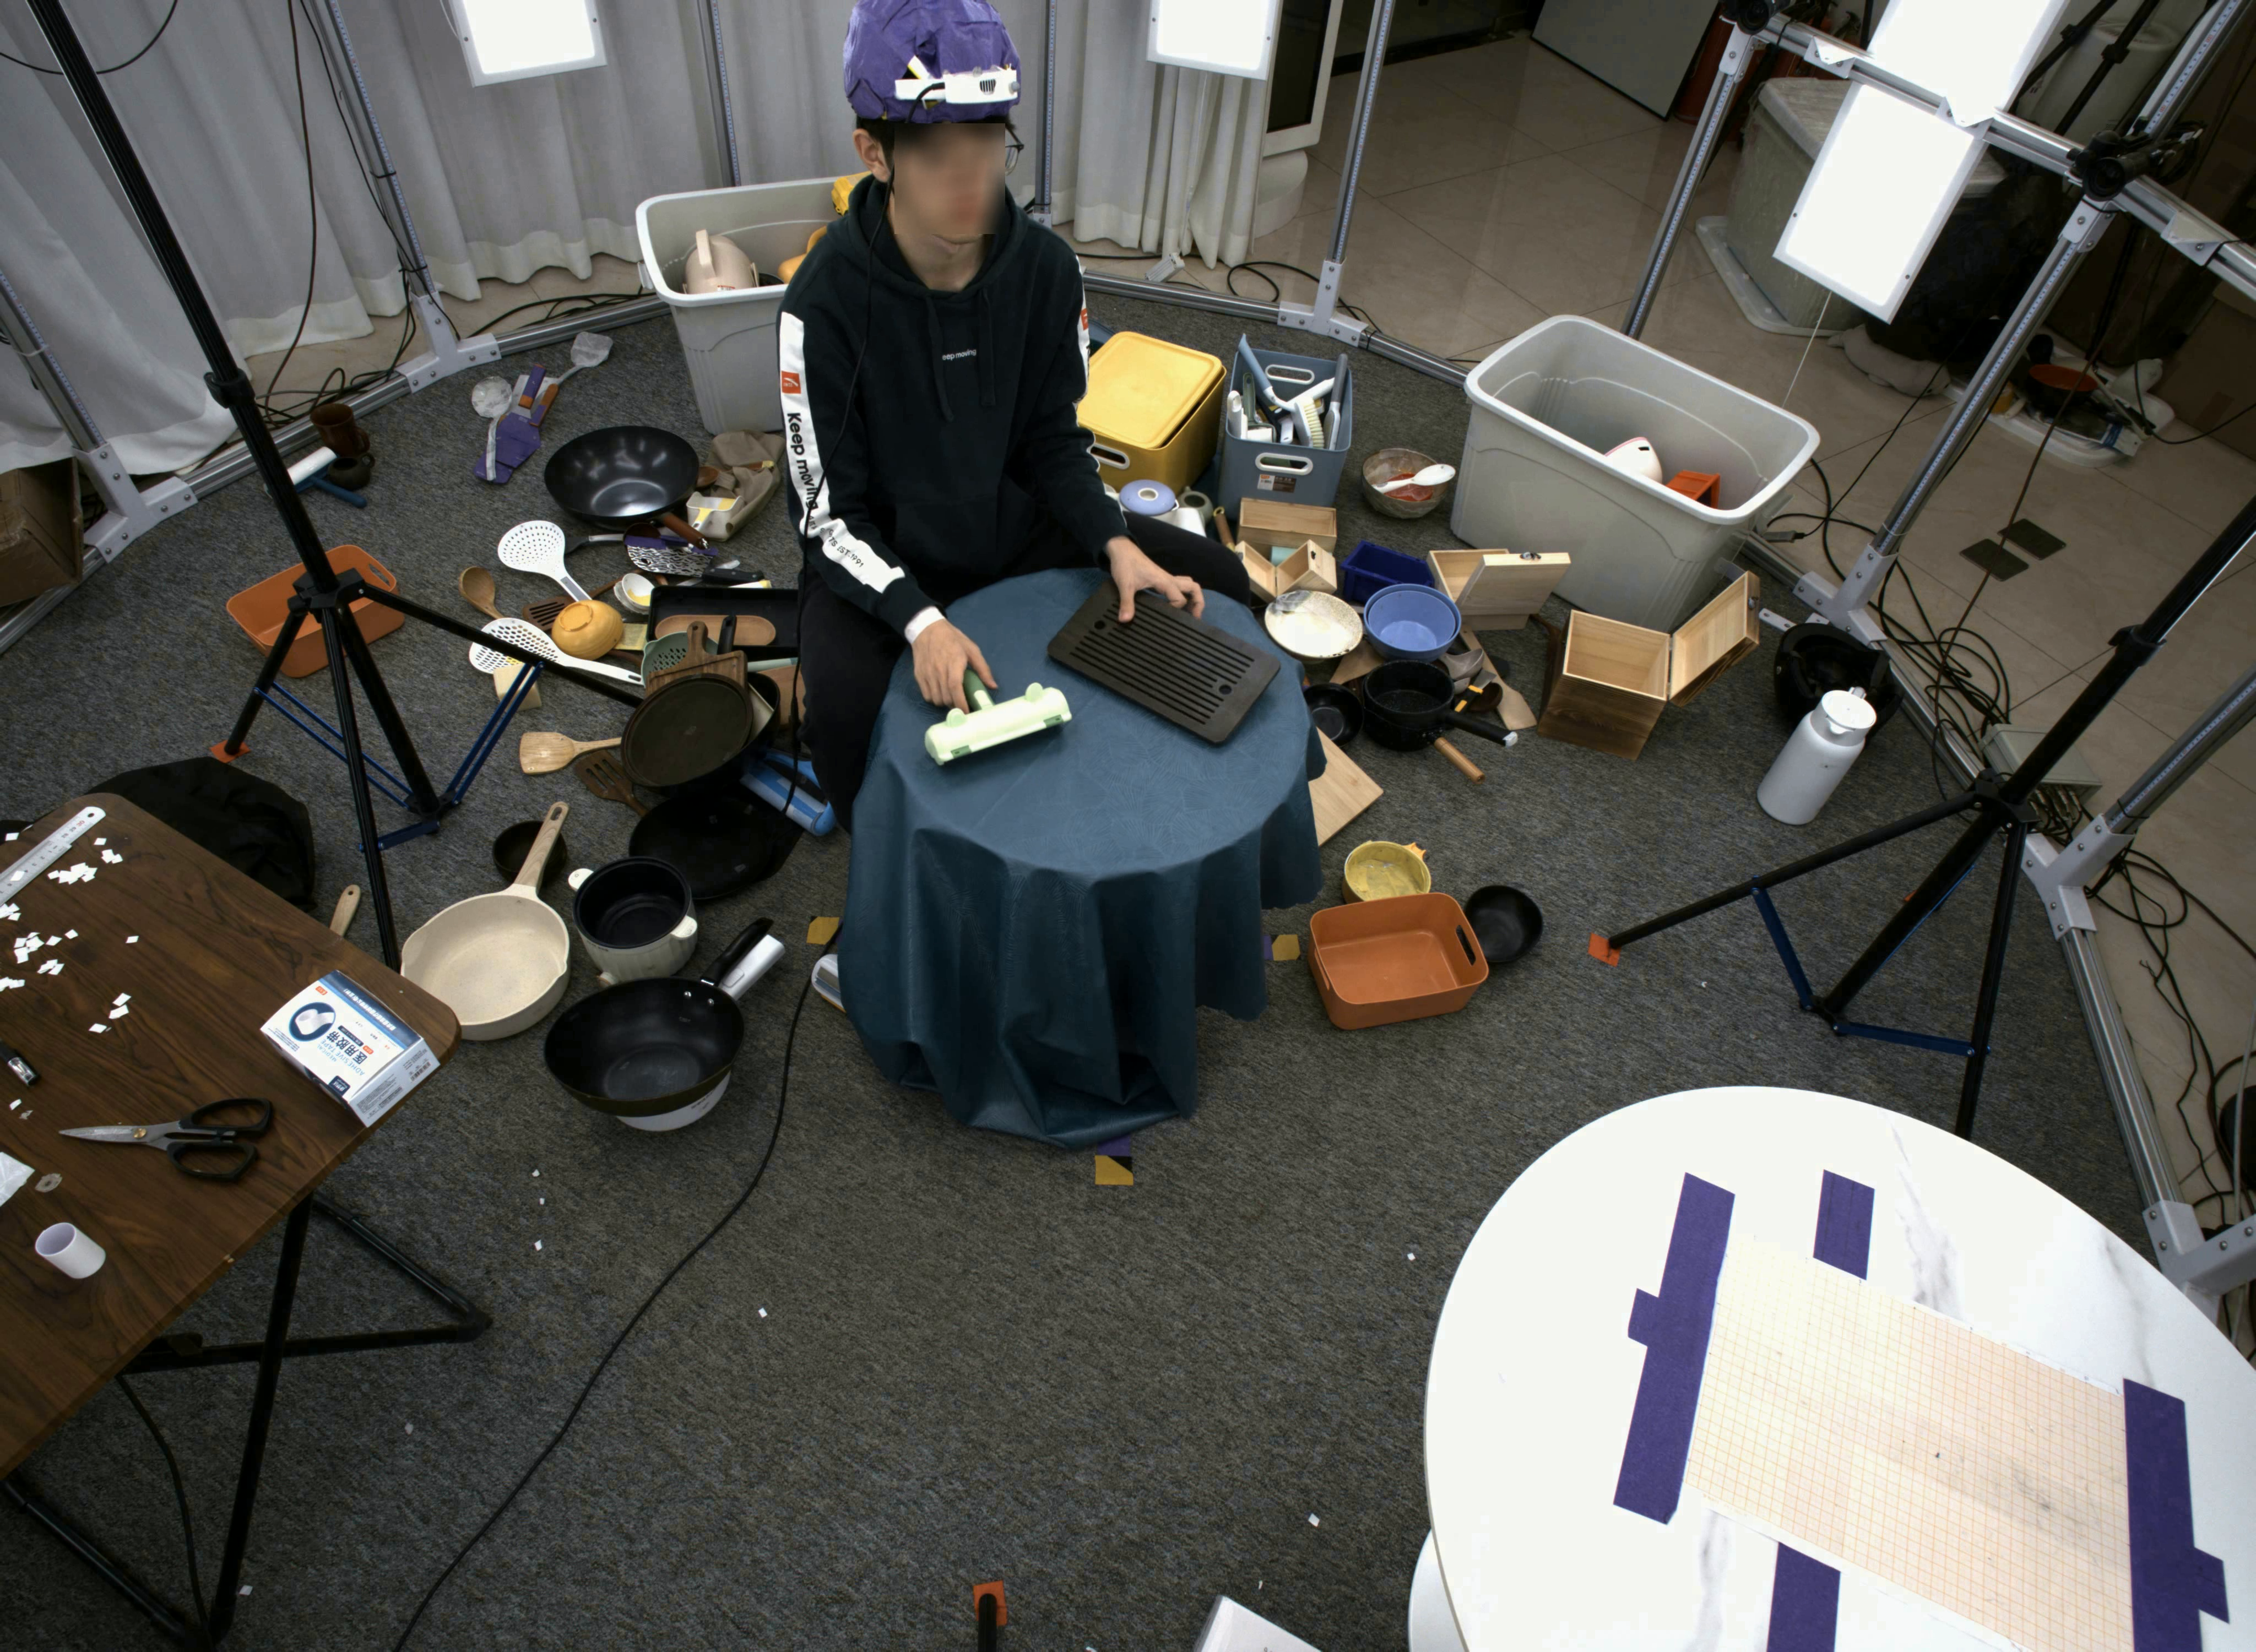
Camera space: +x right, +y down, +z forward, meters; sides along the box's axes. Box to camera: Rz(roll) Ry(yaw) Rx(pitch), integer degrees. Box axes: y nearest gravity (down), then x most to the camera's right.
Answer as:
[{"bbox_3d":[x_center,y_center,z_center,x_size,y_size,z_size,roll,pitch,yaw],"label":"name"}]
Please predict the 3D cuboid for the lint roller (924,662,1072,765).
[{"bbox_3d":[-0.201,-0.180,1.760,0.199,0.080,0.187,-20,57,-20],"label":"lint roller"}]

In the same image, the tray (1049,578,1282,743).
[{"bbox_3d":[0.052,-0.241,1.850,0.309,0.018,0.172,30,64,21],"label":"tray"}]
